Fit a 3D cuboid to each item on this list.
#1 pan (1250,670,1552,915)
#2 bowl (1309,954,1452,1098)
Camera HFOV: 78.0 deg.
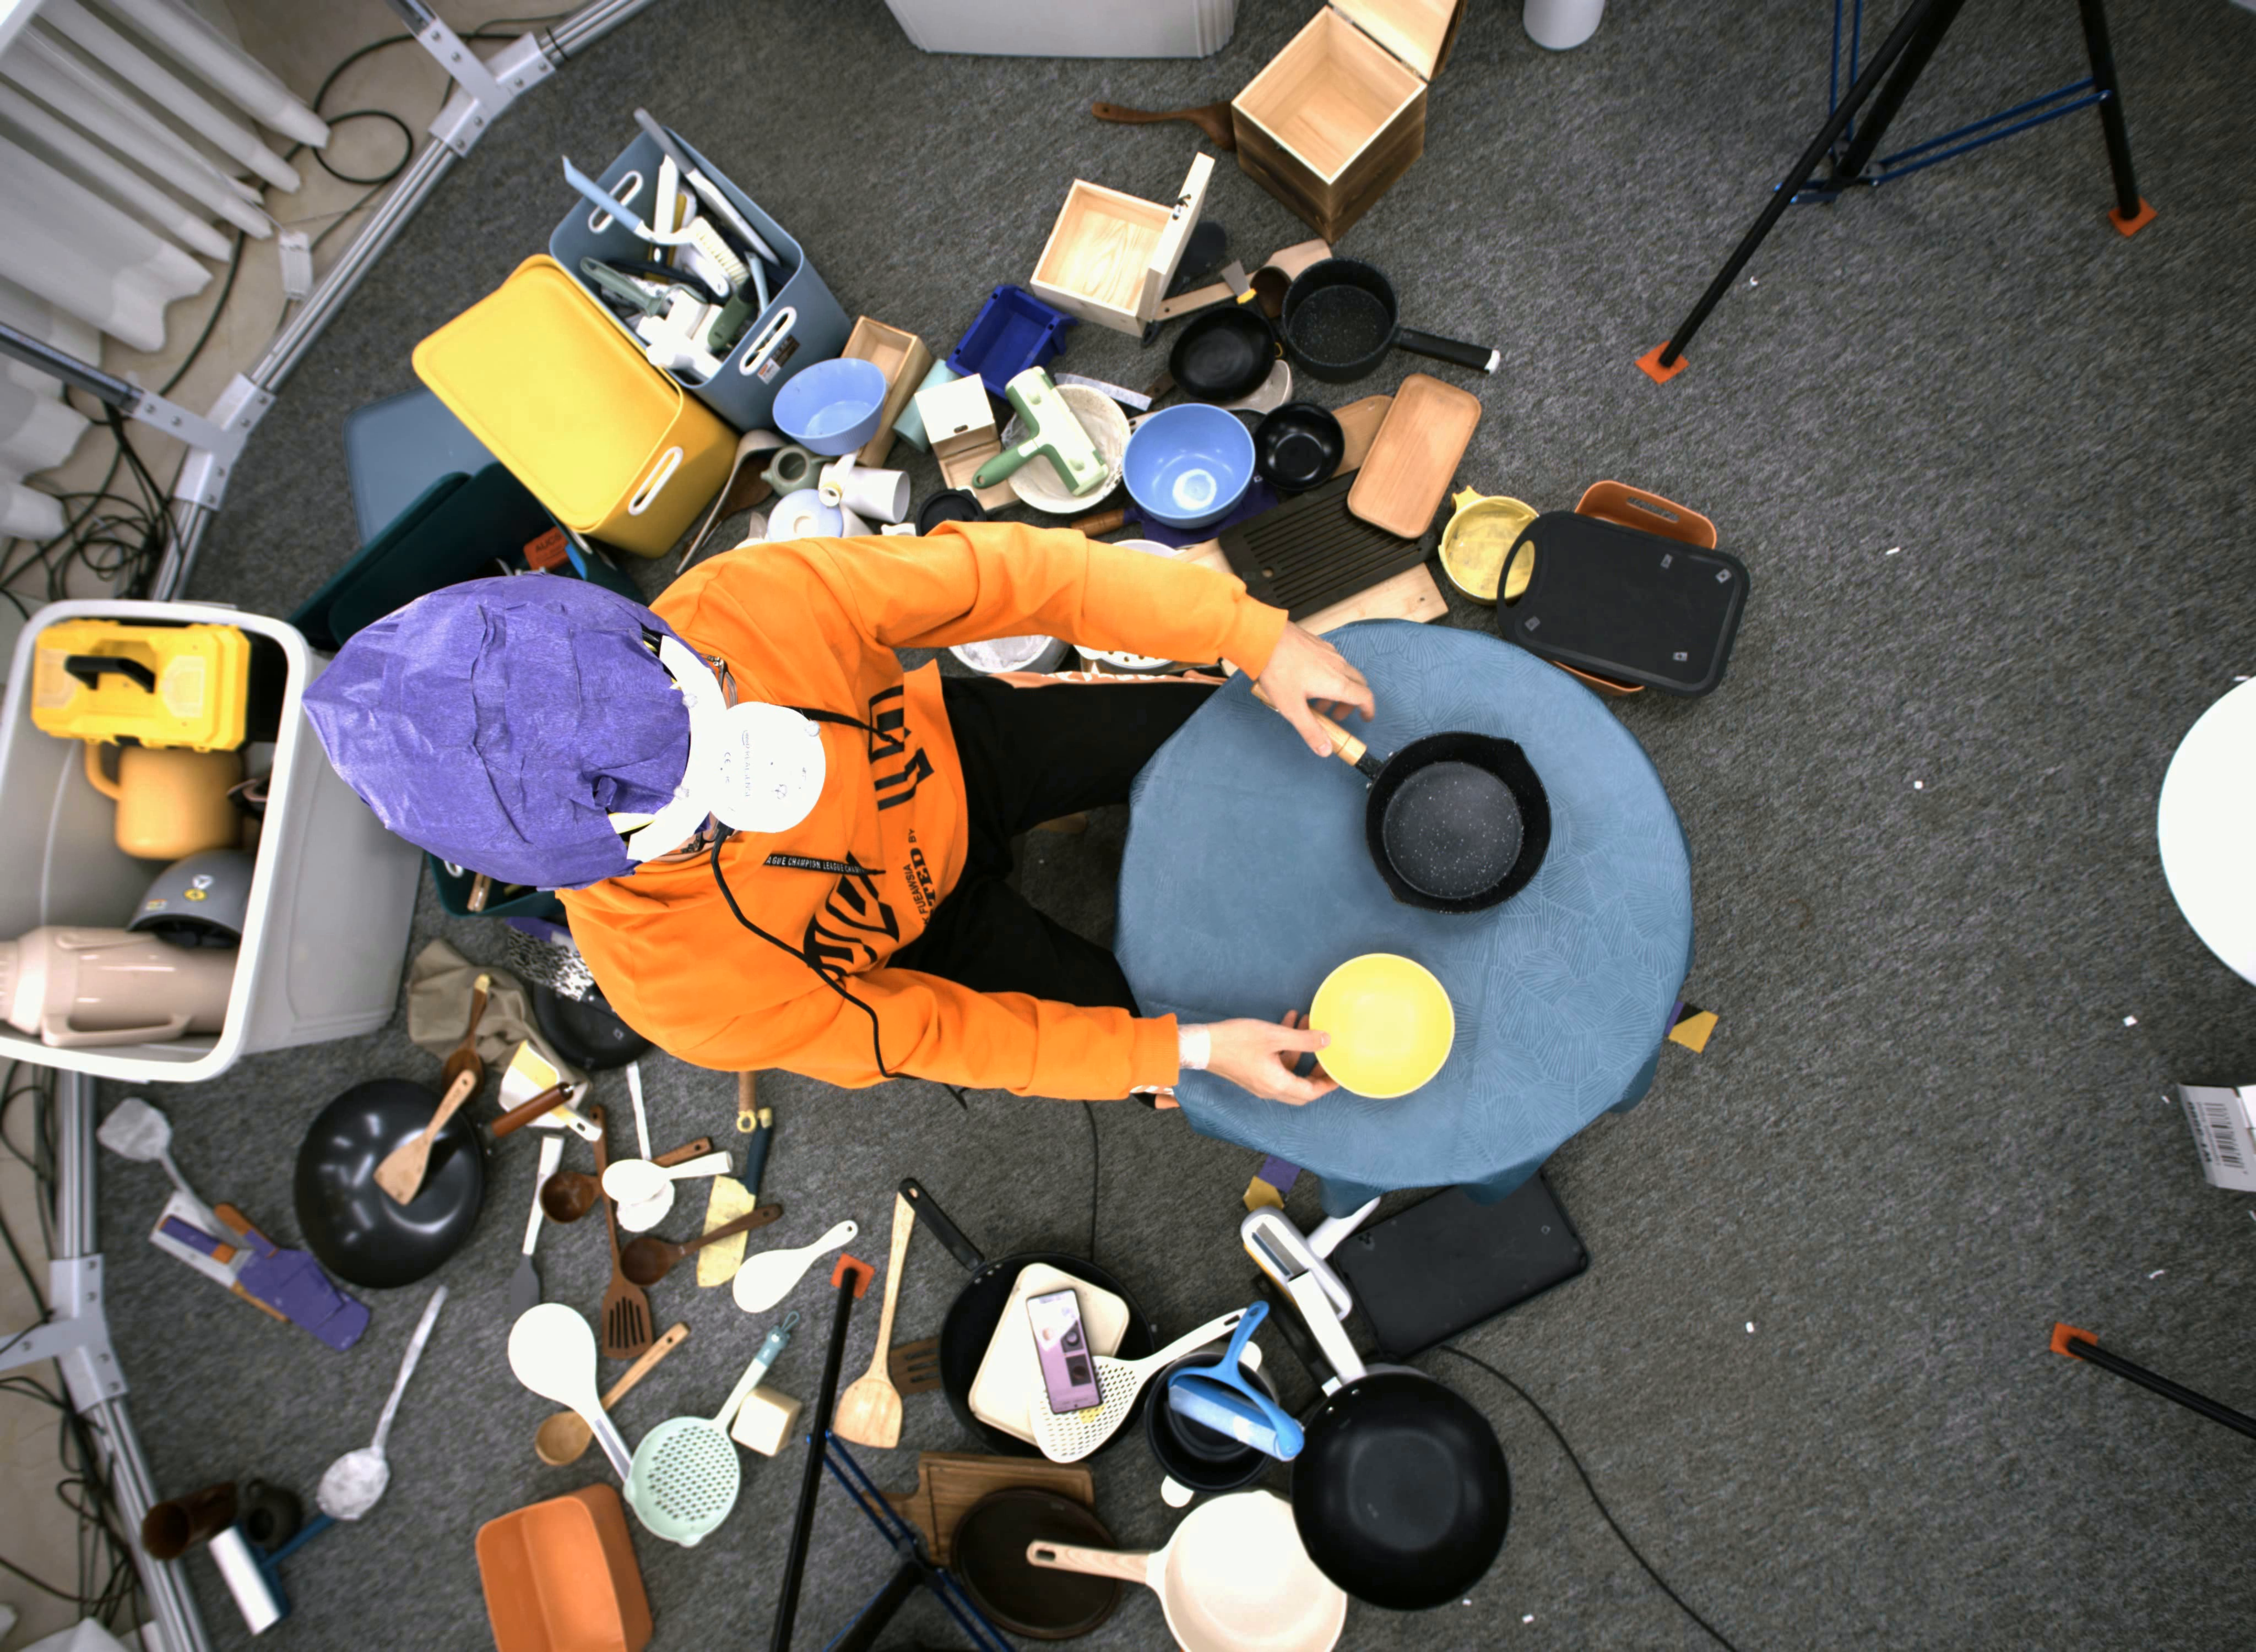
[{"bbox_3d":[0.269,-0.047,1.412,0.342,0.108,0.208,35,94,9],"label":"pan"},{"bbox_3d":[0.259,0.204,1.425,0.146,0.060,0.144,-1,85,10],"label":"bowl"}]
